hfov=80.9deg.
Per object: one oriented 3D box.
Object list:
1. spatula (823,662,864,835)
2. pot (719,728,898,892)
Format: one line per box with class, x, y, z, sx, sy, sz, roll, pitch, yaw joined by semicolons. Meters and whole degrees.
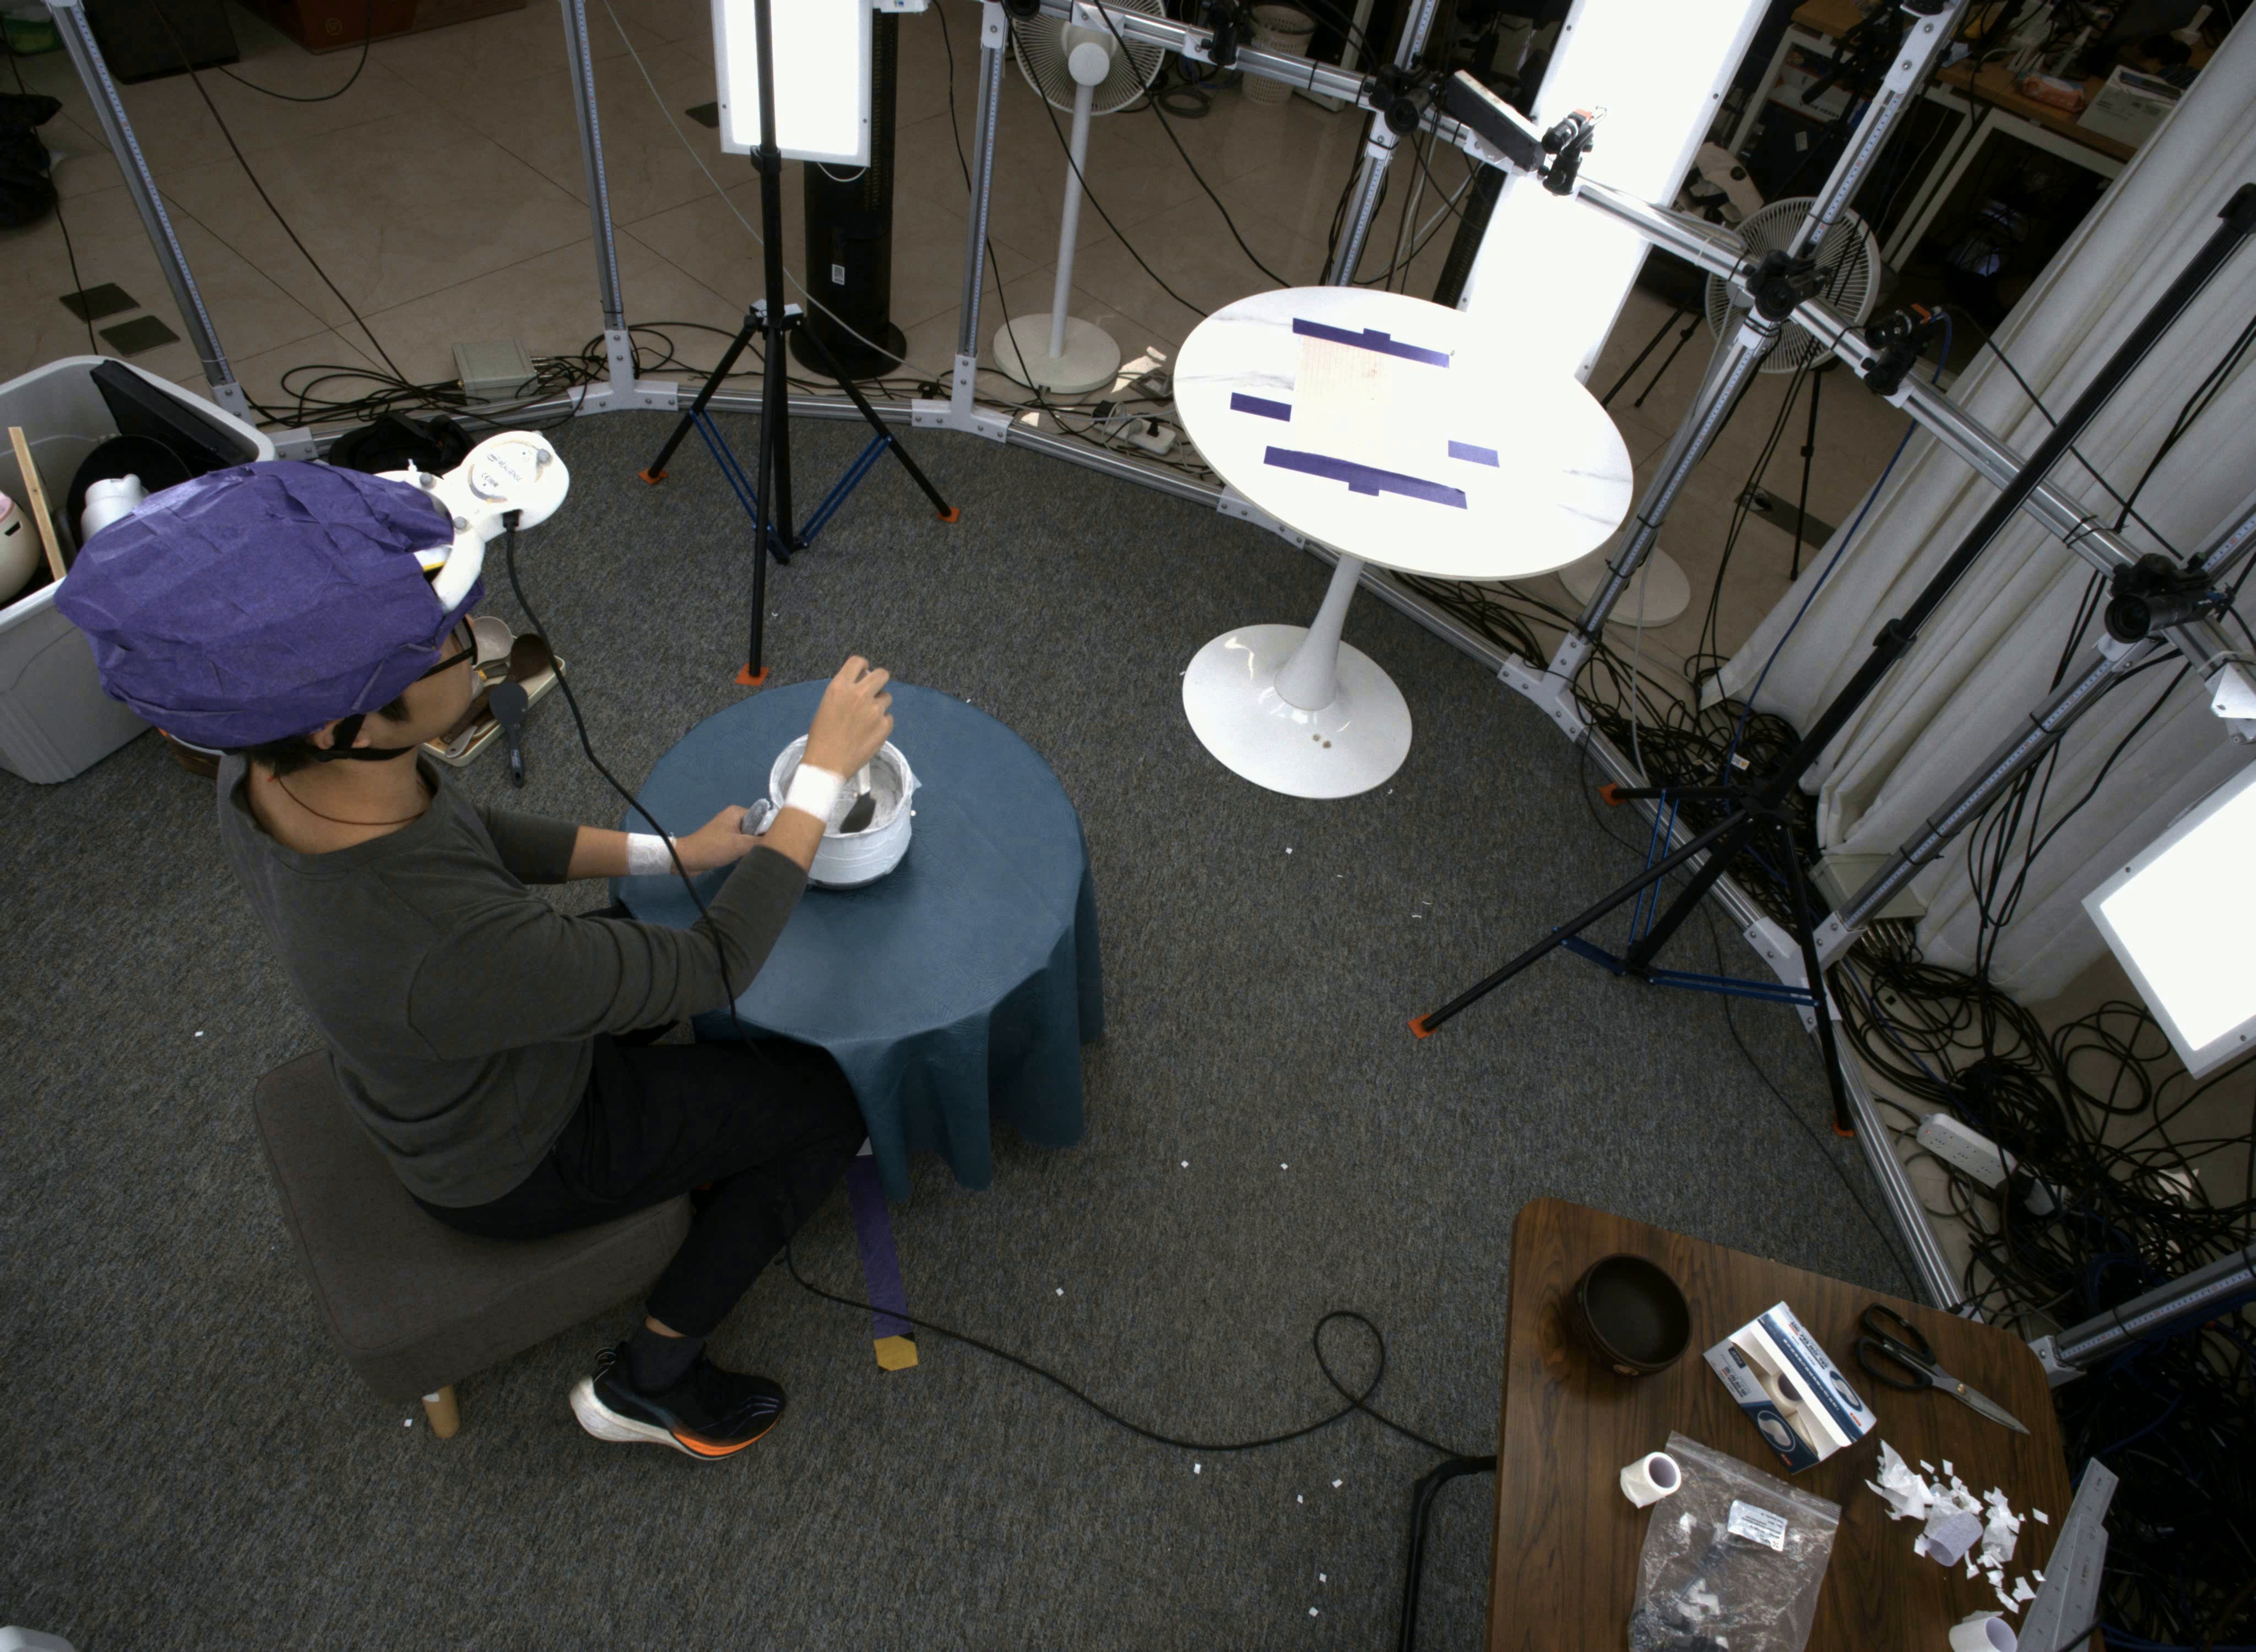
spatula;-0.343;-0.078;1.557;0.031;0.294;0.059;38;55;21
pot;-0.410;-0.008;1.657;0.235;0.139;0.174;-21;60;-26
